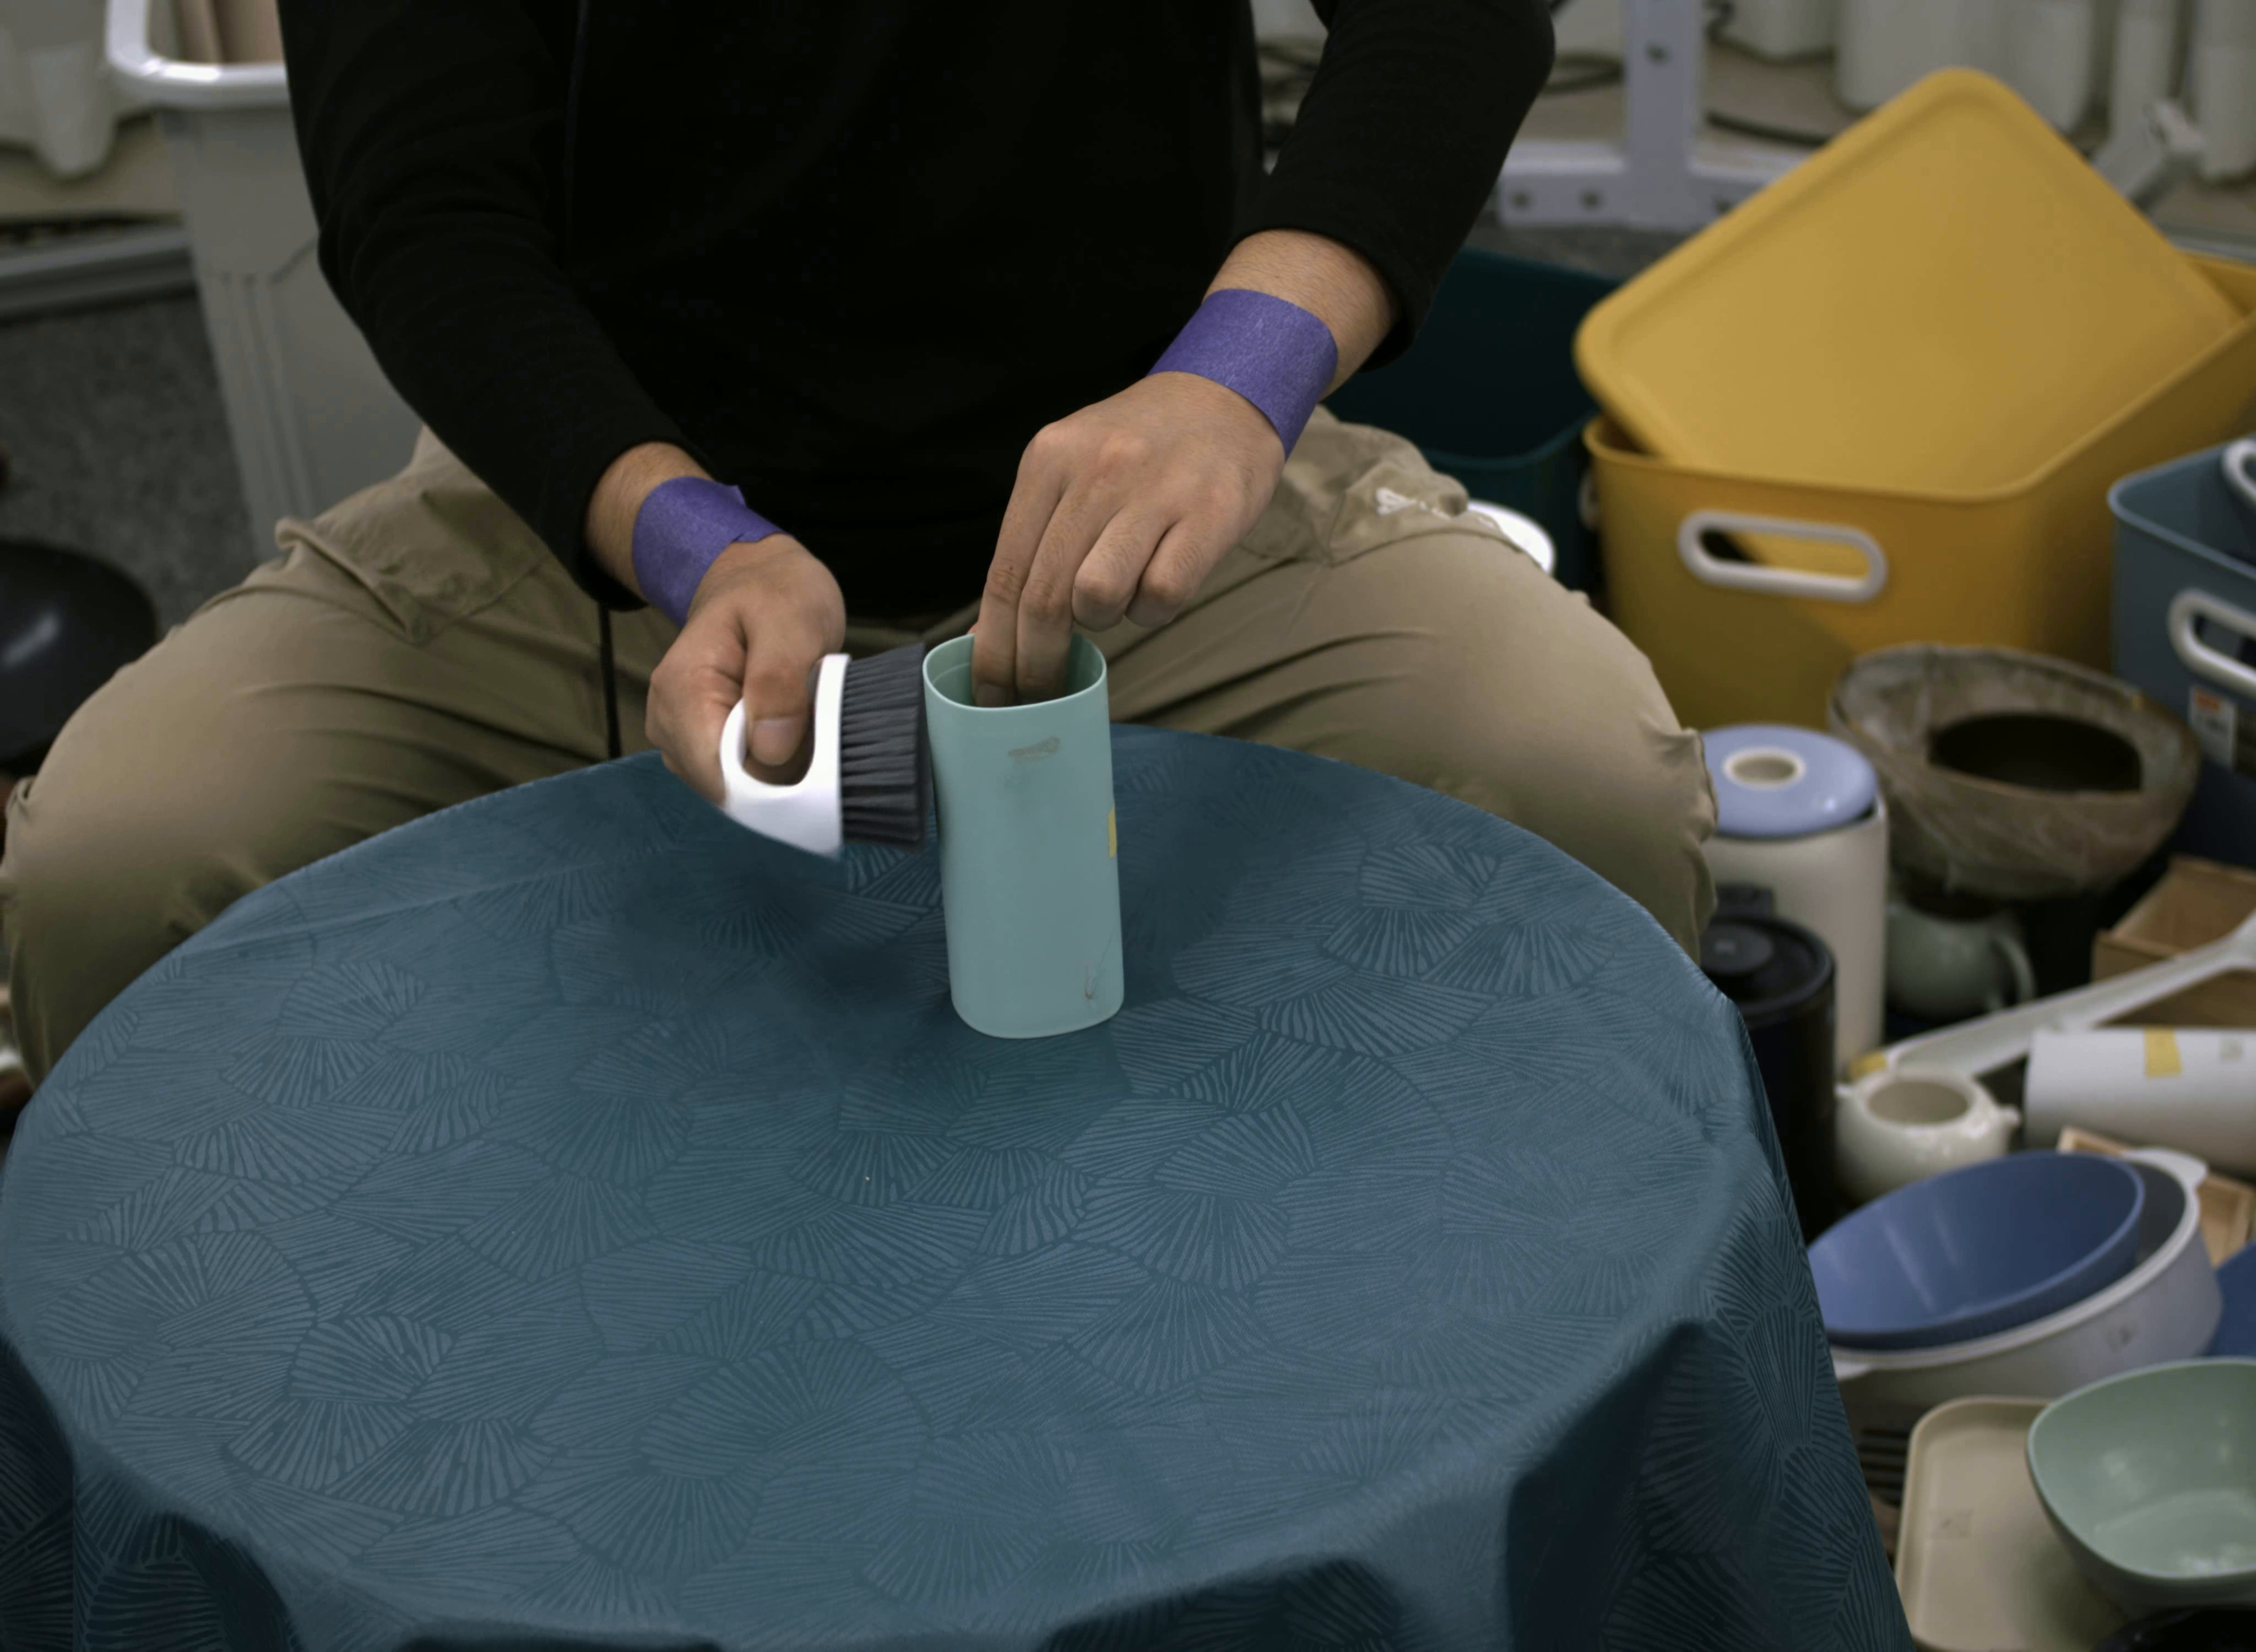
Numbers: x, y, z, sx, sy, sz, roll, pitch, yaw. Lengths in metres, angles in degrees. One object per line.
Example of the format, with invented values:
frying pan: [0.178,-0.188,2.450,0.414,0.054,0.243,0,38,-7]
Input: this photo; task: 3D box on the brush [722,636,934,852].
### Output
brush: [-0.106,-0.027,1.970,0.072,0.049,0.101,-3,33,1]

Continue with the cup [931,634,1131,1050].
cup: [-0.035,0.006,1.956,0.066,0.131,0.068,-3,27,2]
